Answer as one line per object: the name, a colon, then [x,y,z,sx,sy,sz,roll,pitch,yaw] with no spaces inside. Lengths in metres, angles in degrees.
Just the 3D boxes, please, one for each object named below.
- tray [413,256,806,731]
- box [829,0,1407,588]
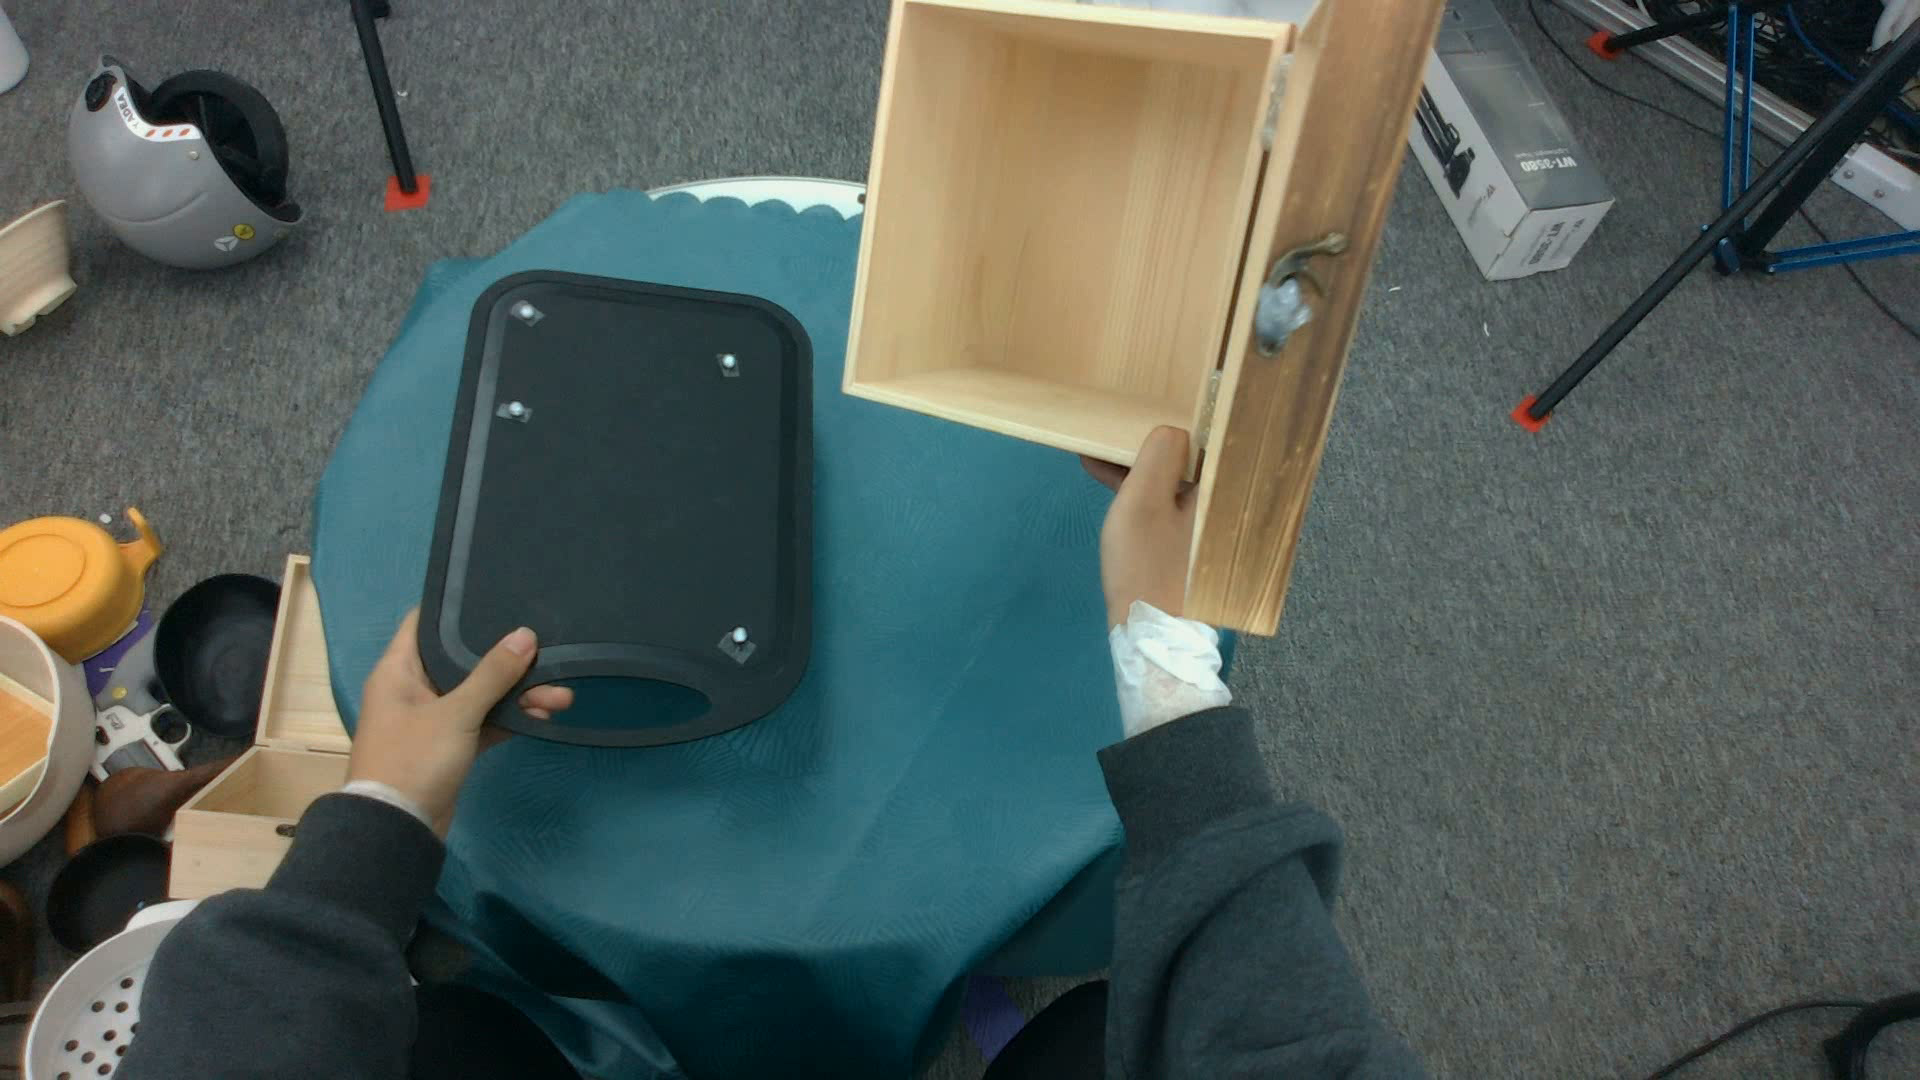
tray: [-0.195,-0.039,0.809,0.211,0.010,0.326,5,57,-13]
box: [0.070,-0.142,0.620,0.322,0.208,0.377,16,17,25]
